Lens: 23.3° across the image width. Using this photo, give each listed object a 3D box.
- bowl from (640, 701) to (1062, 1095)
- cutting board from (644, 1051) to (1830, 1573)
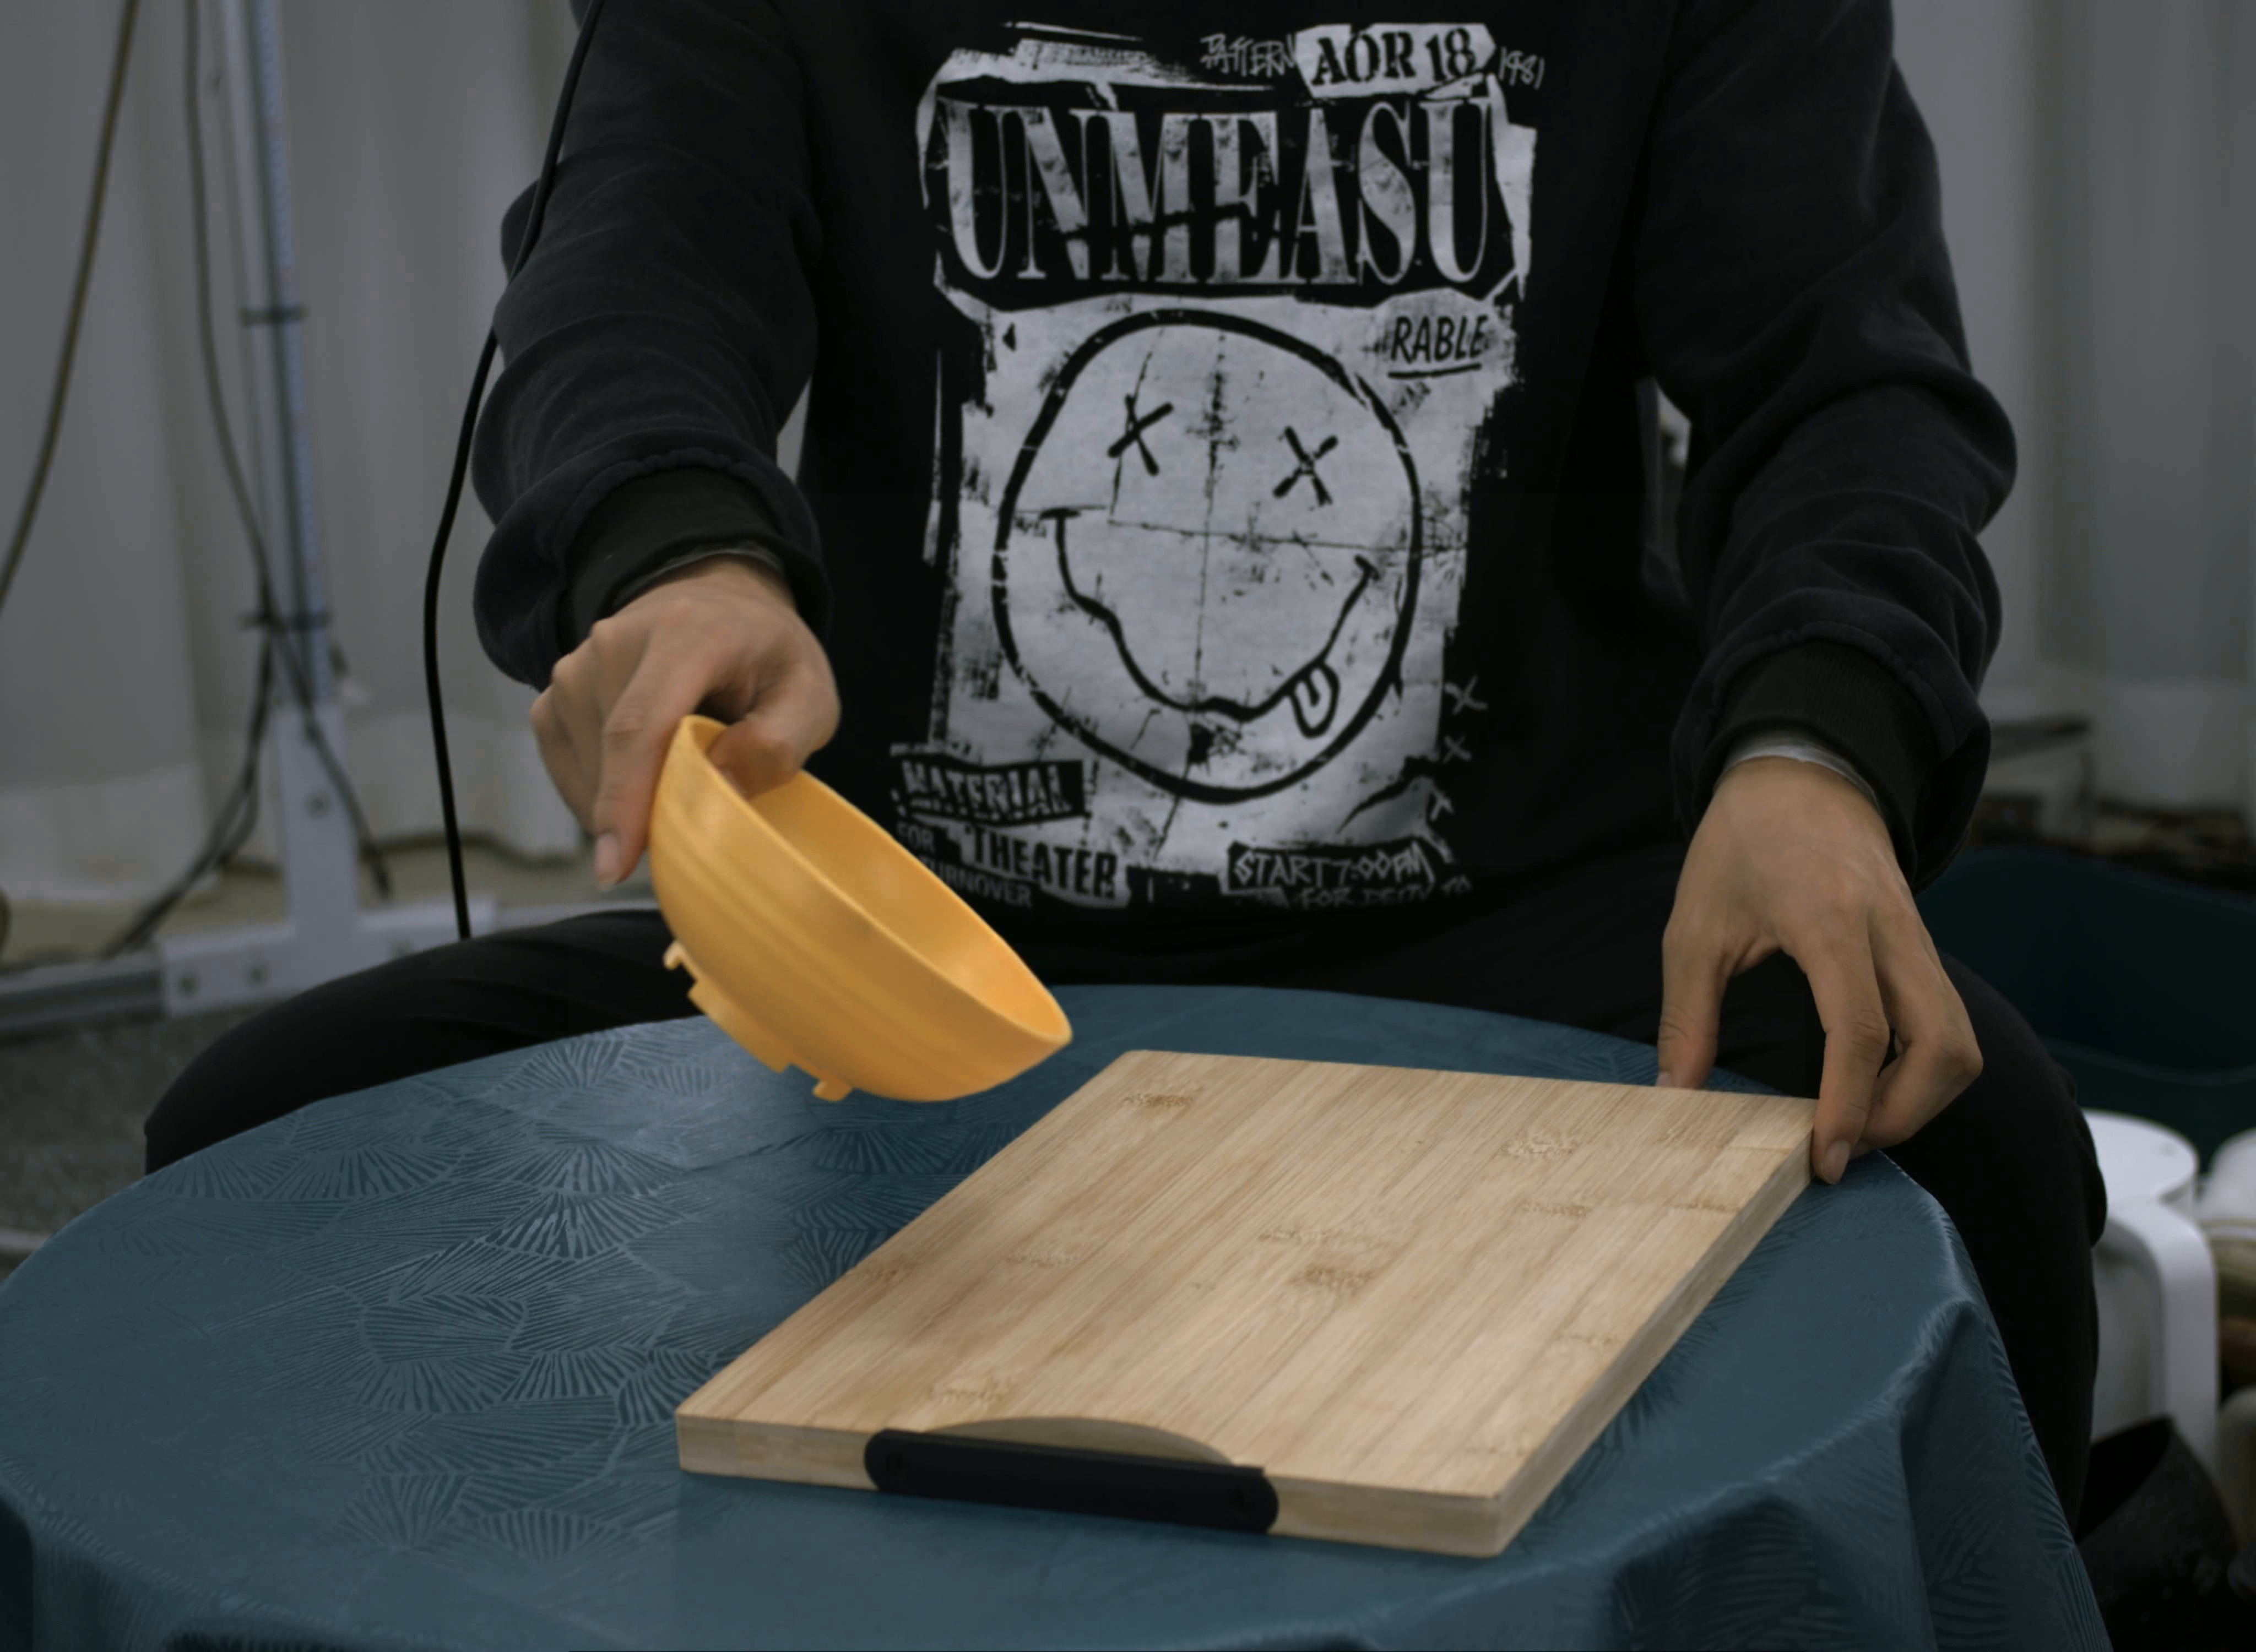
[{"bbox_3d":[-0.091,0.033,1.573,0.145,0.060,0.146,39,8,-7],"label":"bowl"},{"bbox_3d":[0.044,0.135,1.601,0.251,0.023,0.349,3,16,21],"label":"cutting board"}]
